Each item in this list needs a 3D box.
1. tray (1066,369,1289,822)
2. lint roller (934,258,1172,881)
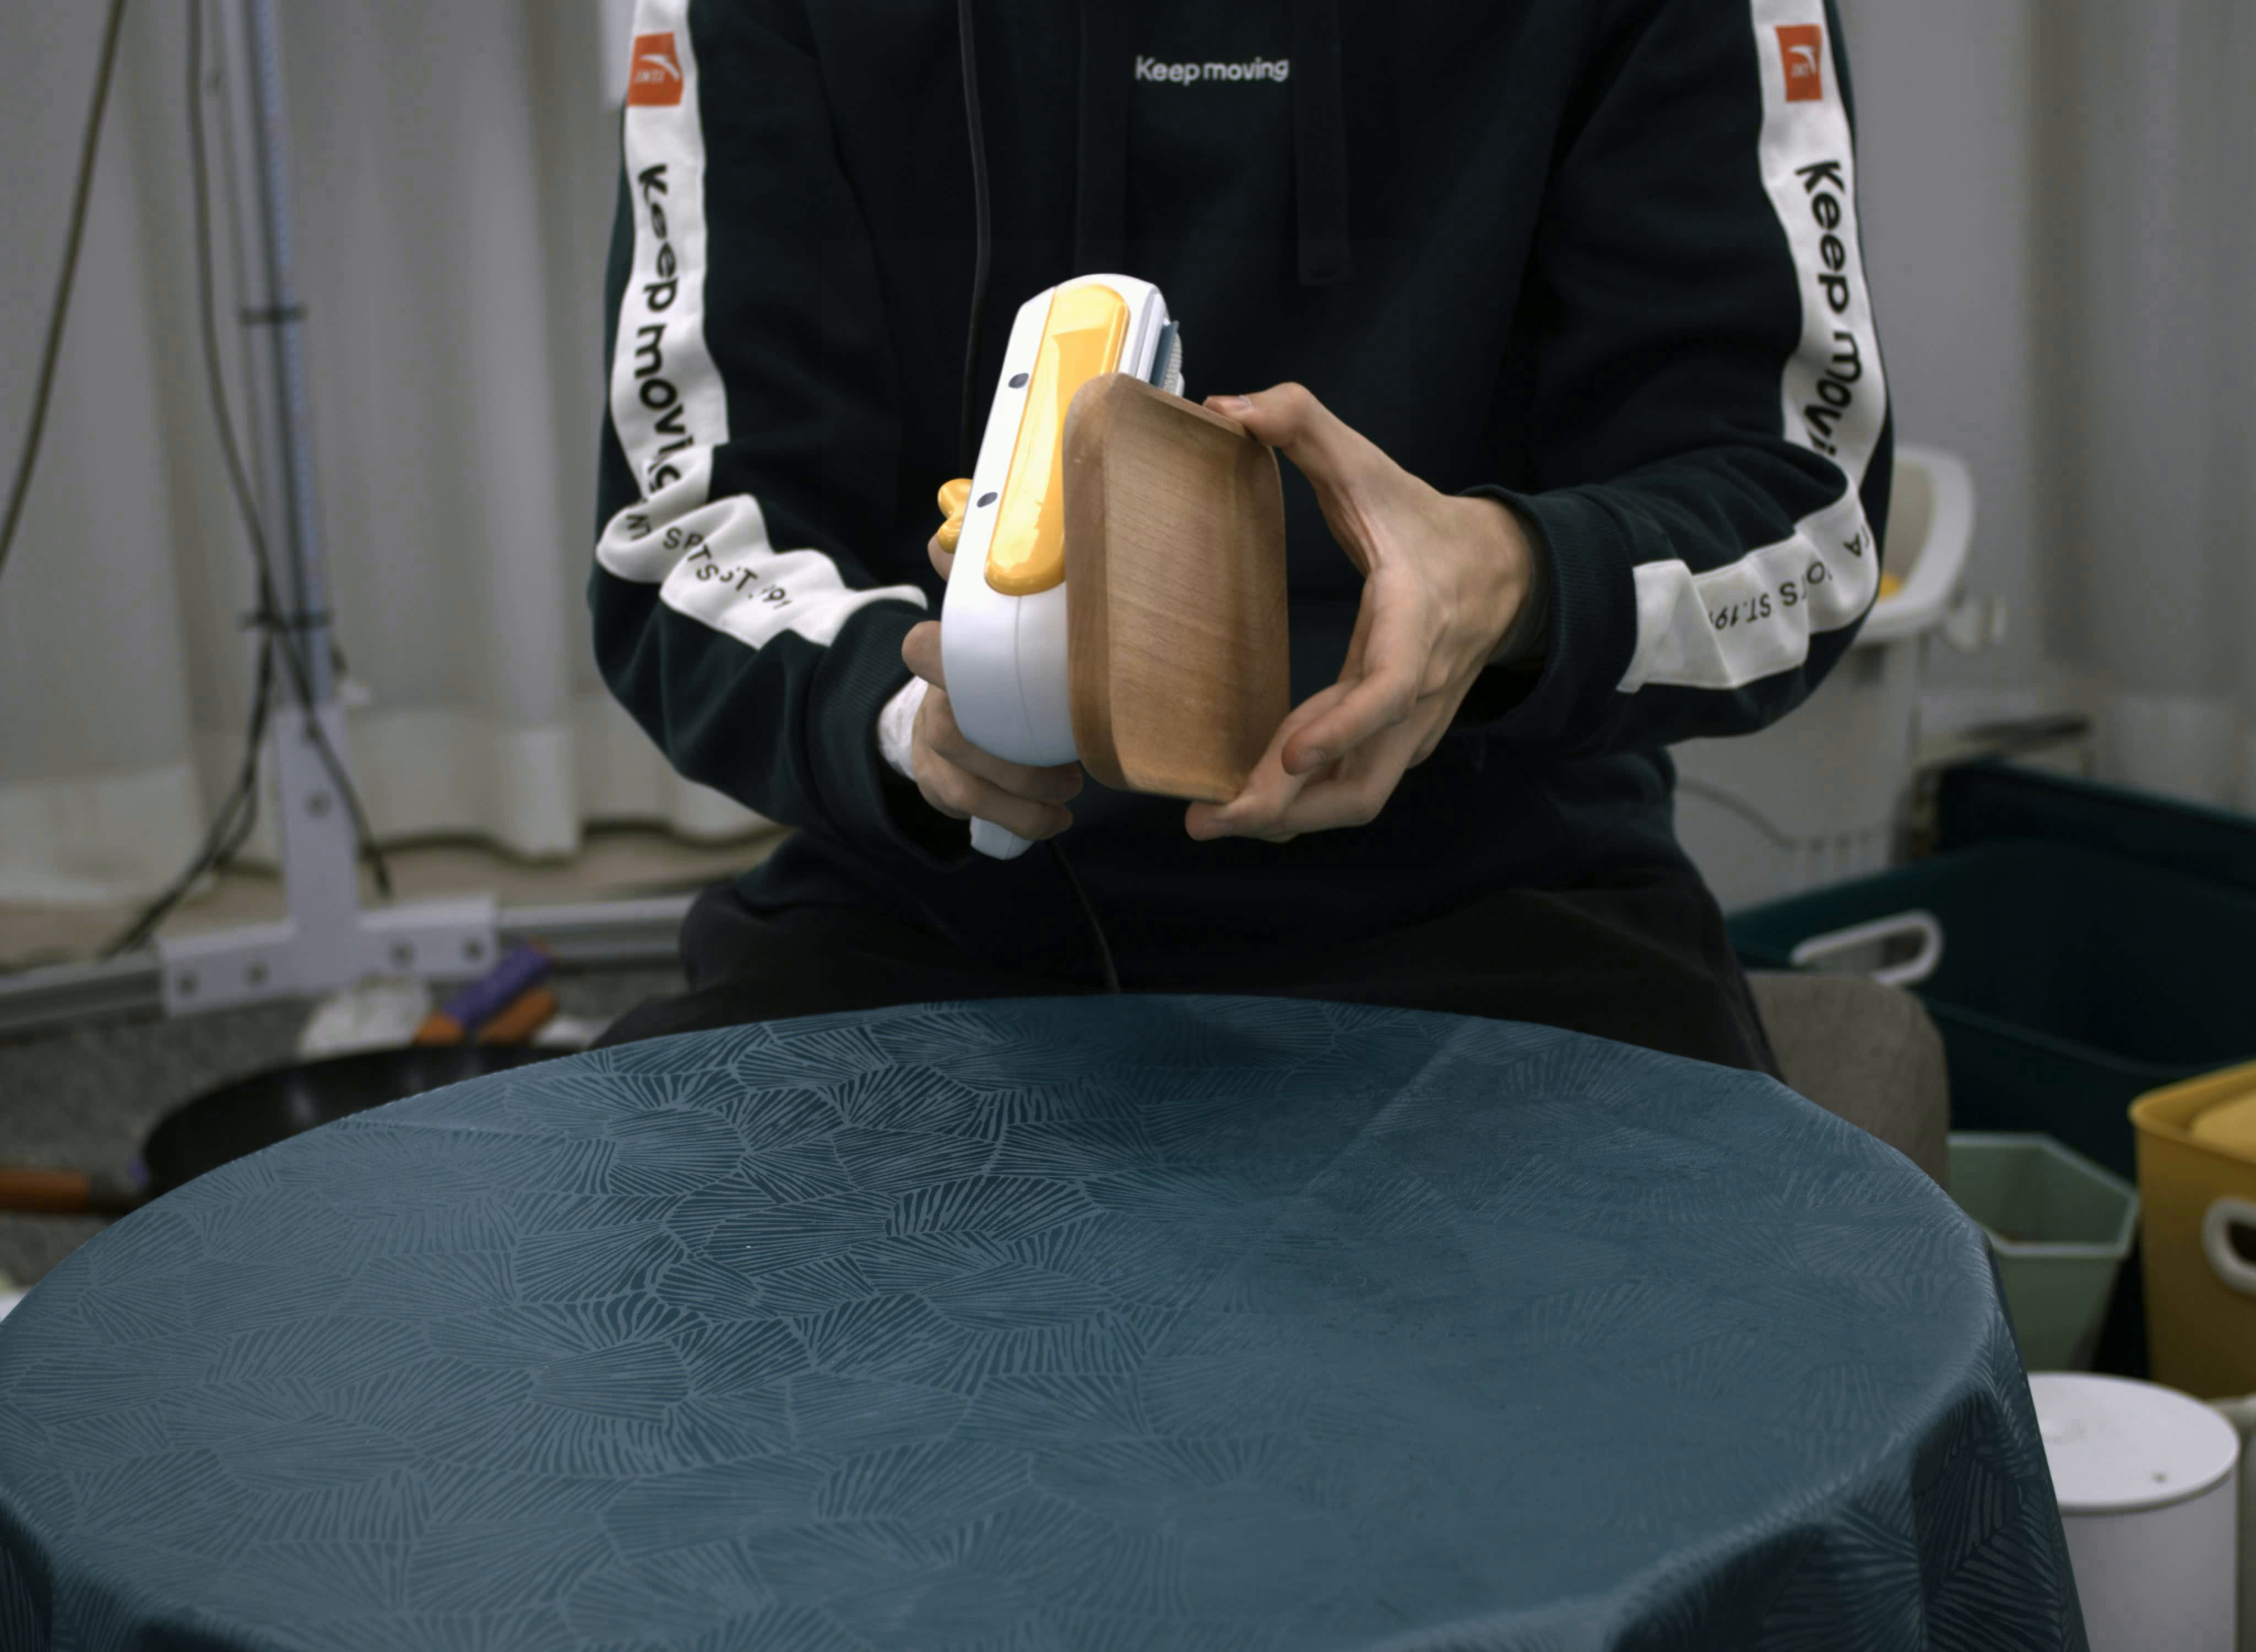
[{"bbox_3d":[0.018,-0.070,1.739,0.023,0.131,0.249,0,-3,13],"label":"tray"},{"bbox_3d":[-0.024,-0.062,1.790,0.074,0.190,0.195,0,40,4],"label":"lint roller"}]
